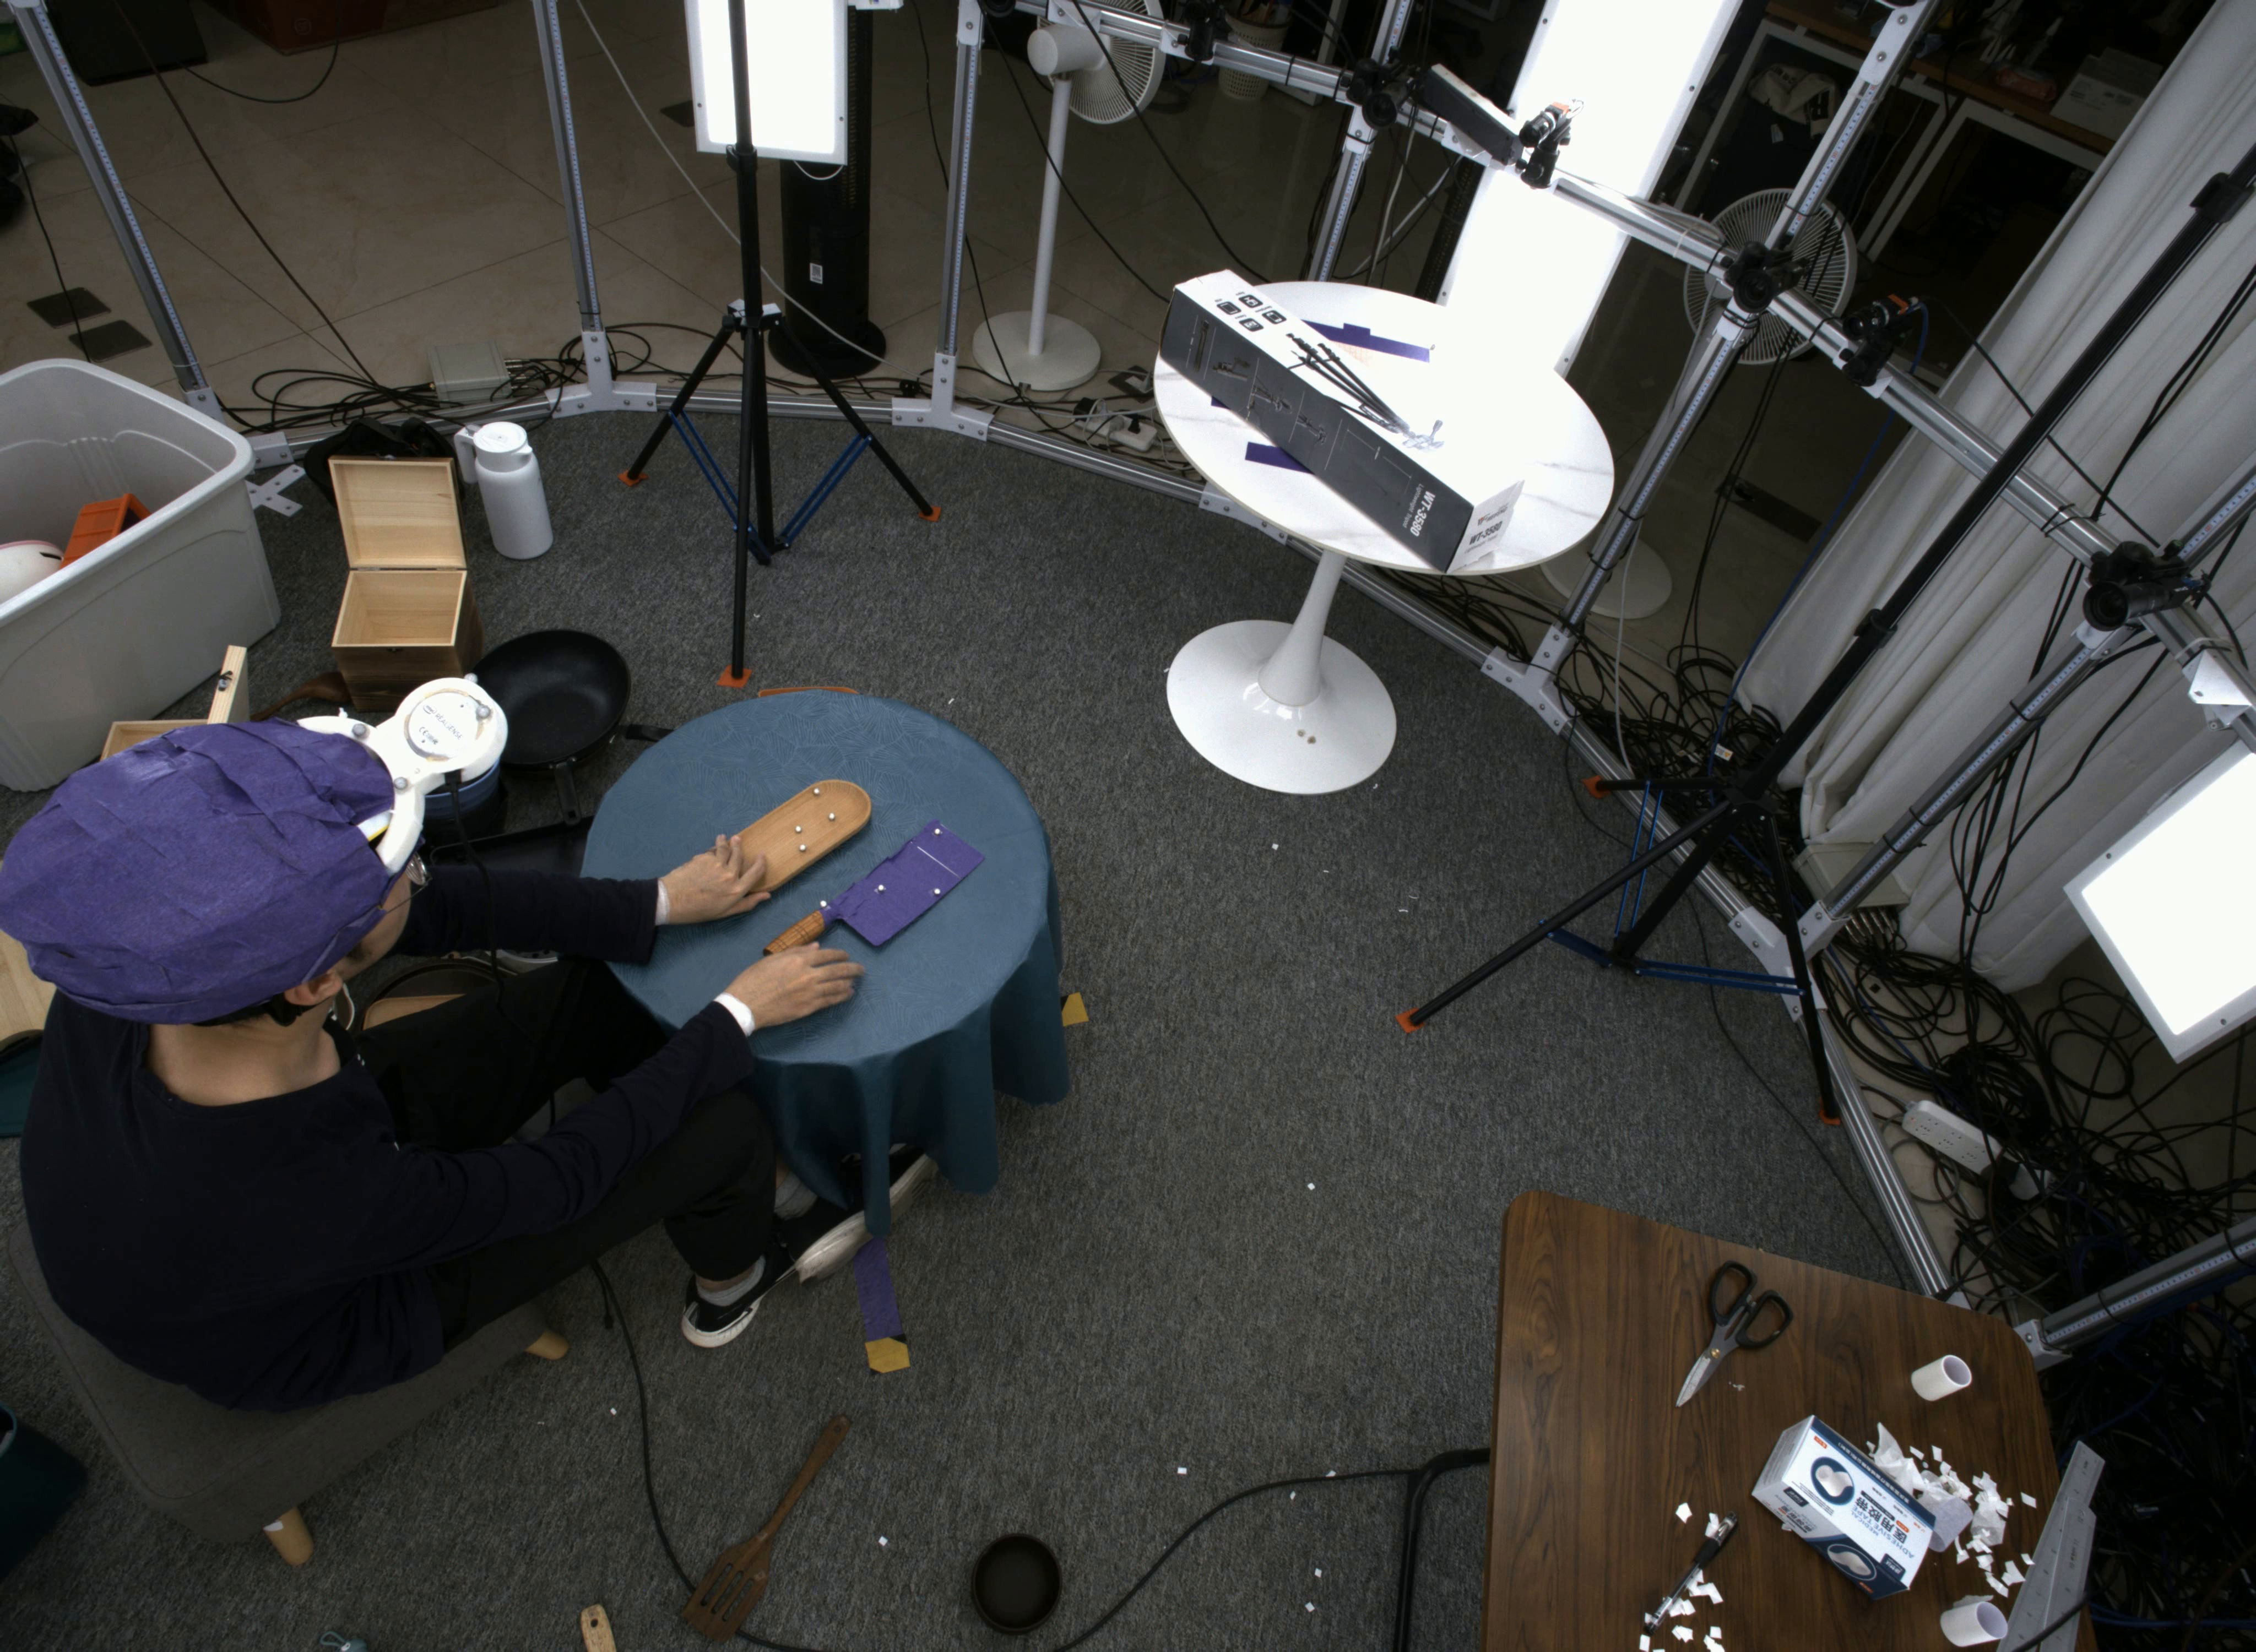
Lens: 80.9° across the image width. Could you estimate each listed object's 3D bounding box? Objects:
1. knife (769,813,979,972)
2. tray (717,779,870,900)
[{"bbox_3d":[-0.318,0.094,1.675,0.102,0.033,0.315,36,53,13],"label":"knife"},{"bbox_3d":[-0.438,0.015,1.707,0.099,0.021,0.231,34,55,18],"label":"tray"}]
